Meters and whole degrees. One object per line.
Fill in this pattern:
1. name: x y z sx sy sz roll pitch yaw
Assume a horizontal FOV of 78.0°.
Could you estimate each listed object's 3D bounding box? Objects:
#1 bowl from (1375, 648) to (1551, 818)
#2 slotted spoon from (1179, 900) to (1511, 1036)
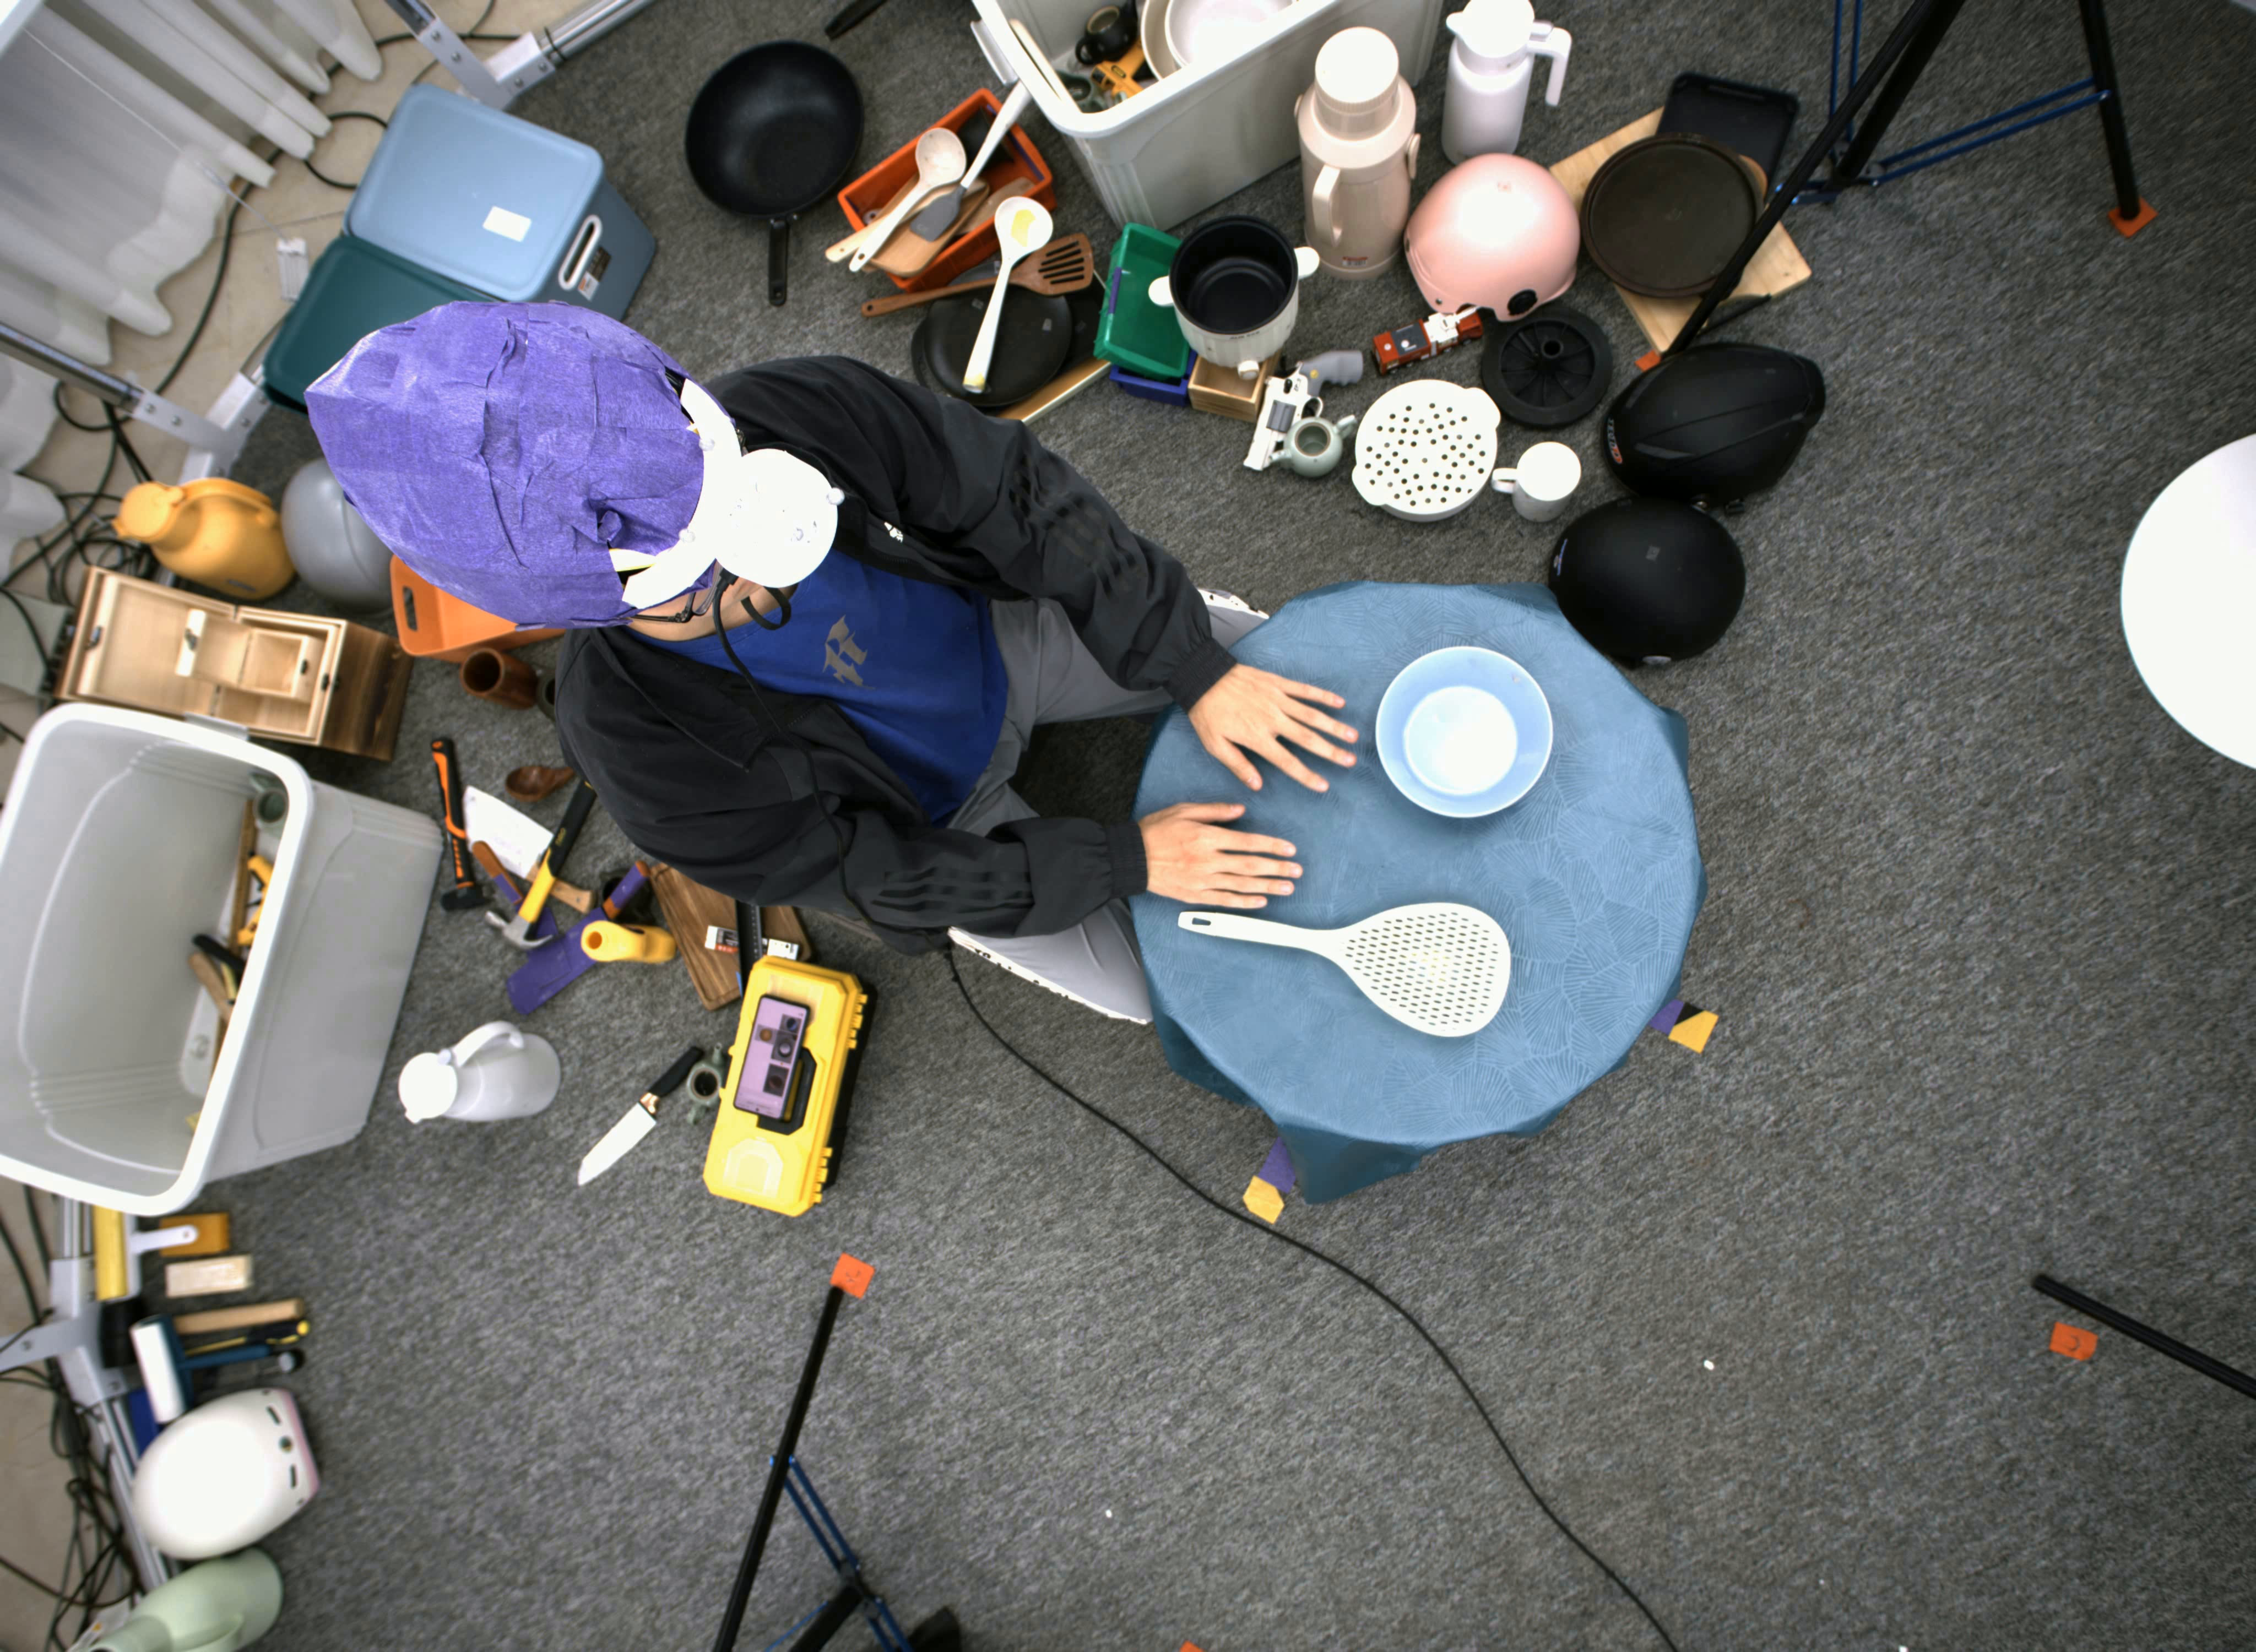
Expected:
1. bowl: 0.343 -0.093 1.417 0.177 0.070 0.175 -1 86 11
2. slotted spoon: 0.220 0.126 1.443 0.349 0.050 0.137 9 92 11
